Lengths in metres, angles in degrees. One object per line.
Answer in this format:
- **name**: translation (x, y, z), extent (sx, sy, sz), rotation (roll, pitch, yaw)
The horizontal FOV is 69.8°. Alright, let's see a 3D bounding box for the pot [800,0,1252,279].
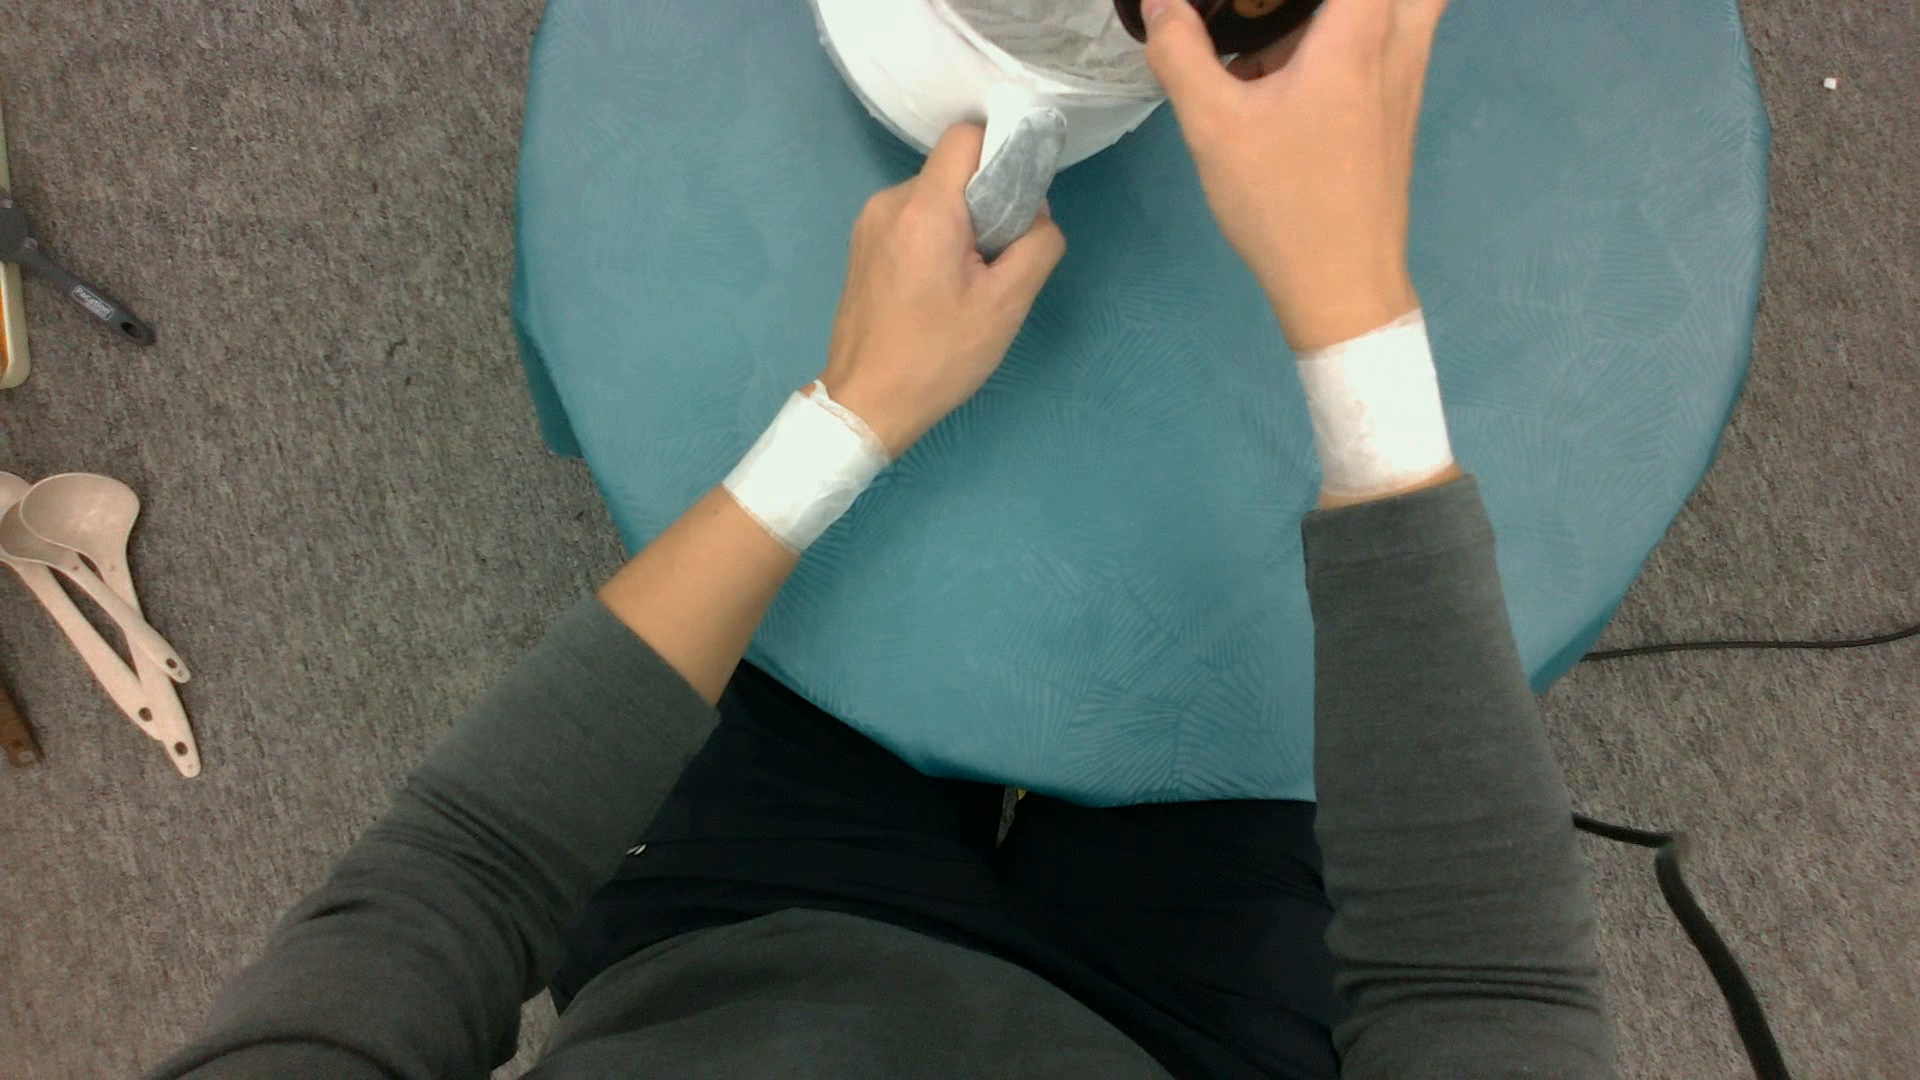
- **pot**: translation (0.020, -0.231, 0.581), extent (0.179, 0.136, 0.234), rotation (11, 86, -19)

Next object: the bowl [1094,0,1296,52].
- **bowl**: translation (0.100, -0.240, 0.506), extent (0.070, 0.118, 0.118), rotation (-2, 87, -18)
